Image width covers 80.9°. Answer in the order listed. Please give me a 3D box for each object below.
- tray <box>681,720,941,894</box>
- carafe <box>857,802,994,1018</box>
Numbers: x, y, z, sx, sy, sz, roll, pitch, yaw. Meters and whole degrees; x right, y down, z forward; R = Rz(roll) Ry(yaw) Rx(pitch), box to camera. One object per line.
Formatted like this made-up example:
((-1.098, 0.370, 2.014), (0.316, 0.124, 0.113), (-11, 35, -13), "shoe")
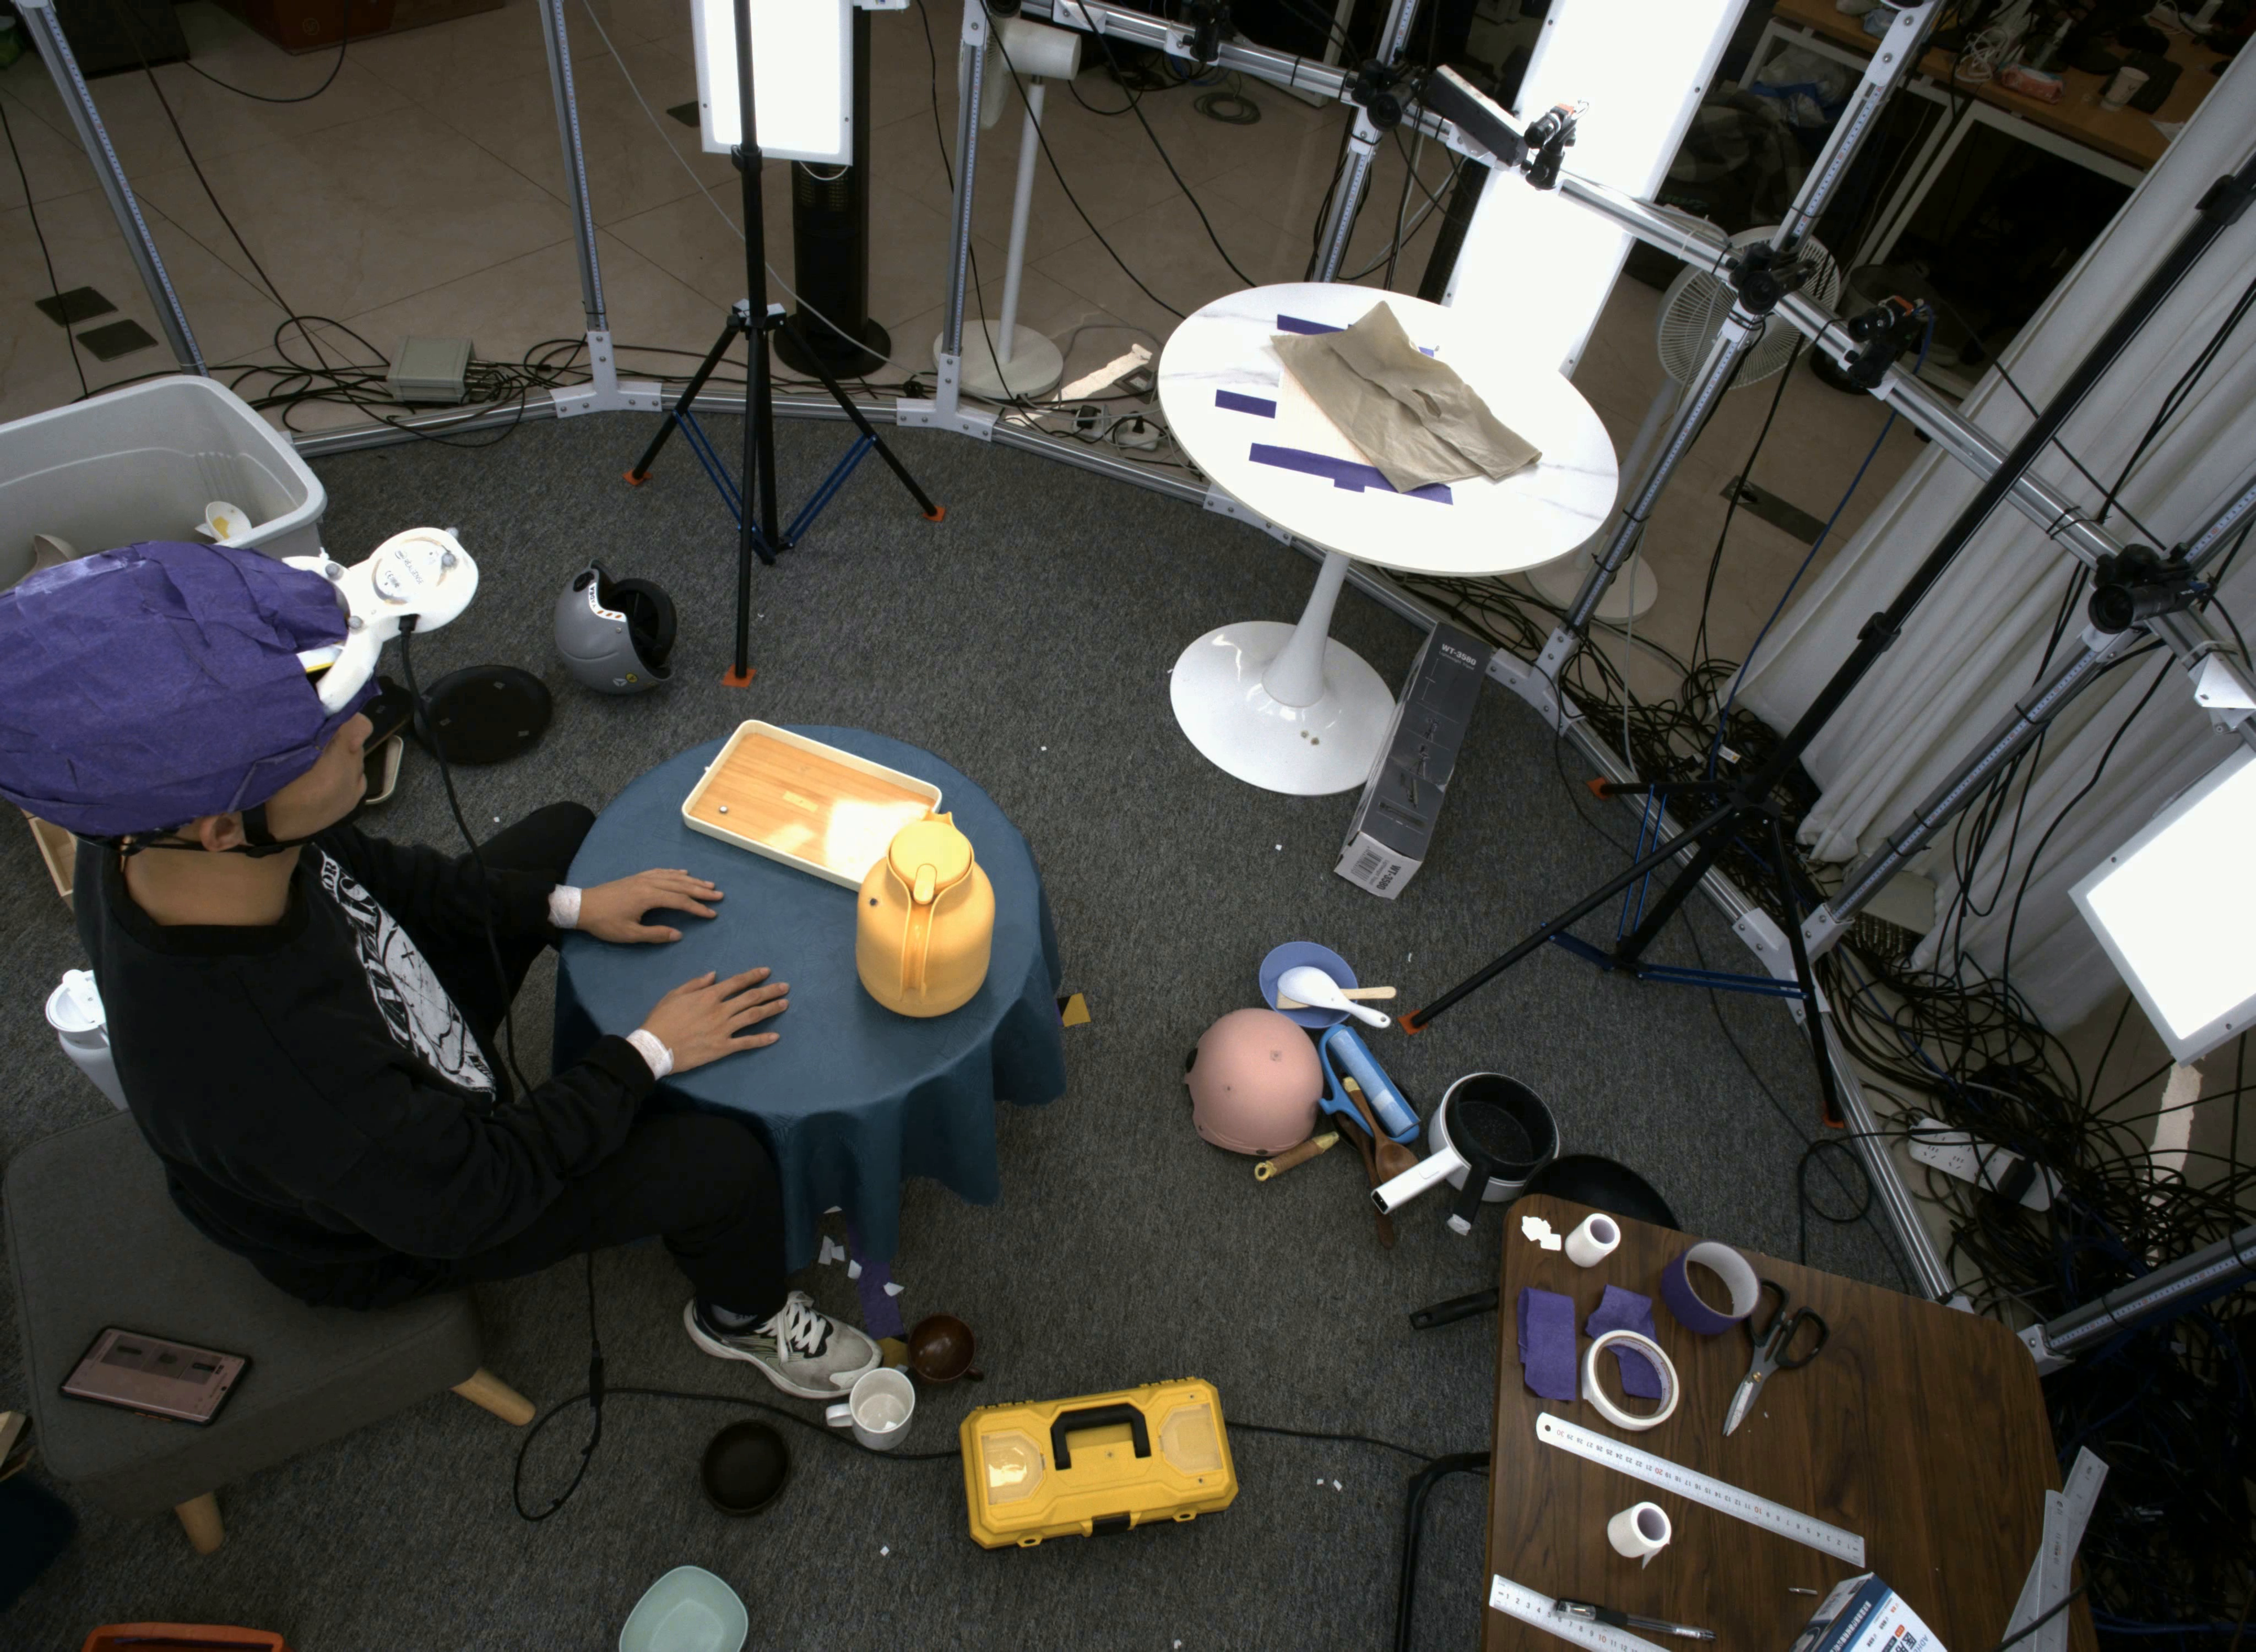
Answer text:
((-0.418, -0.026, 1.725), (0.297, 0.028, 0.190), (21, 51, 1), "tray")
((-0.240, 0.113, 1.517), (0.162, 0.266, 0.199), (8, 51, -3), "carafe")
